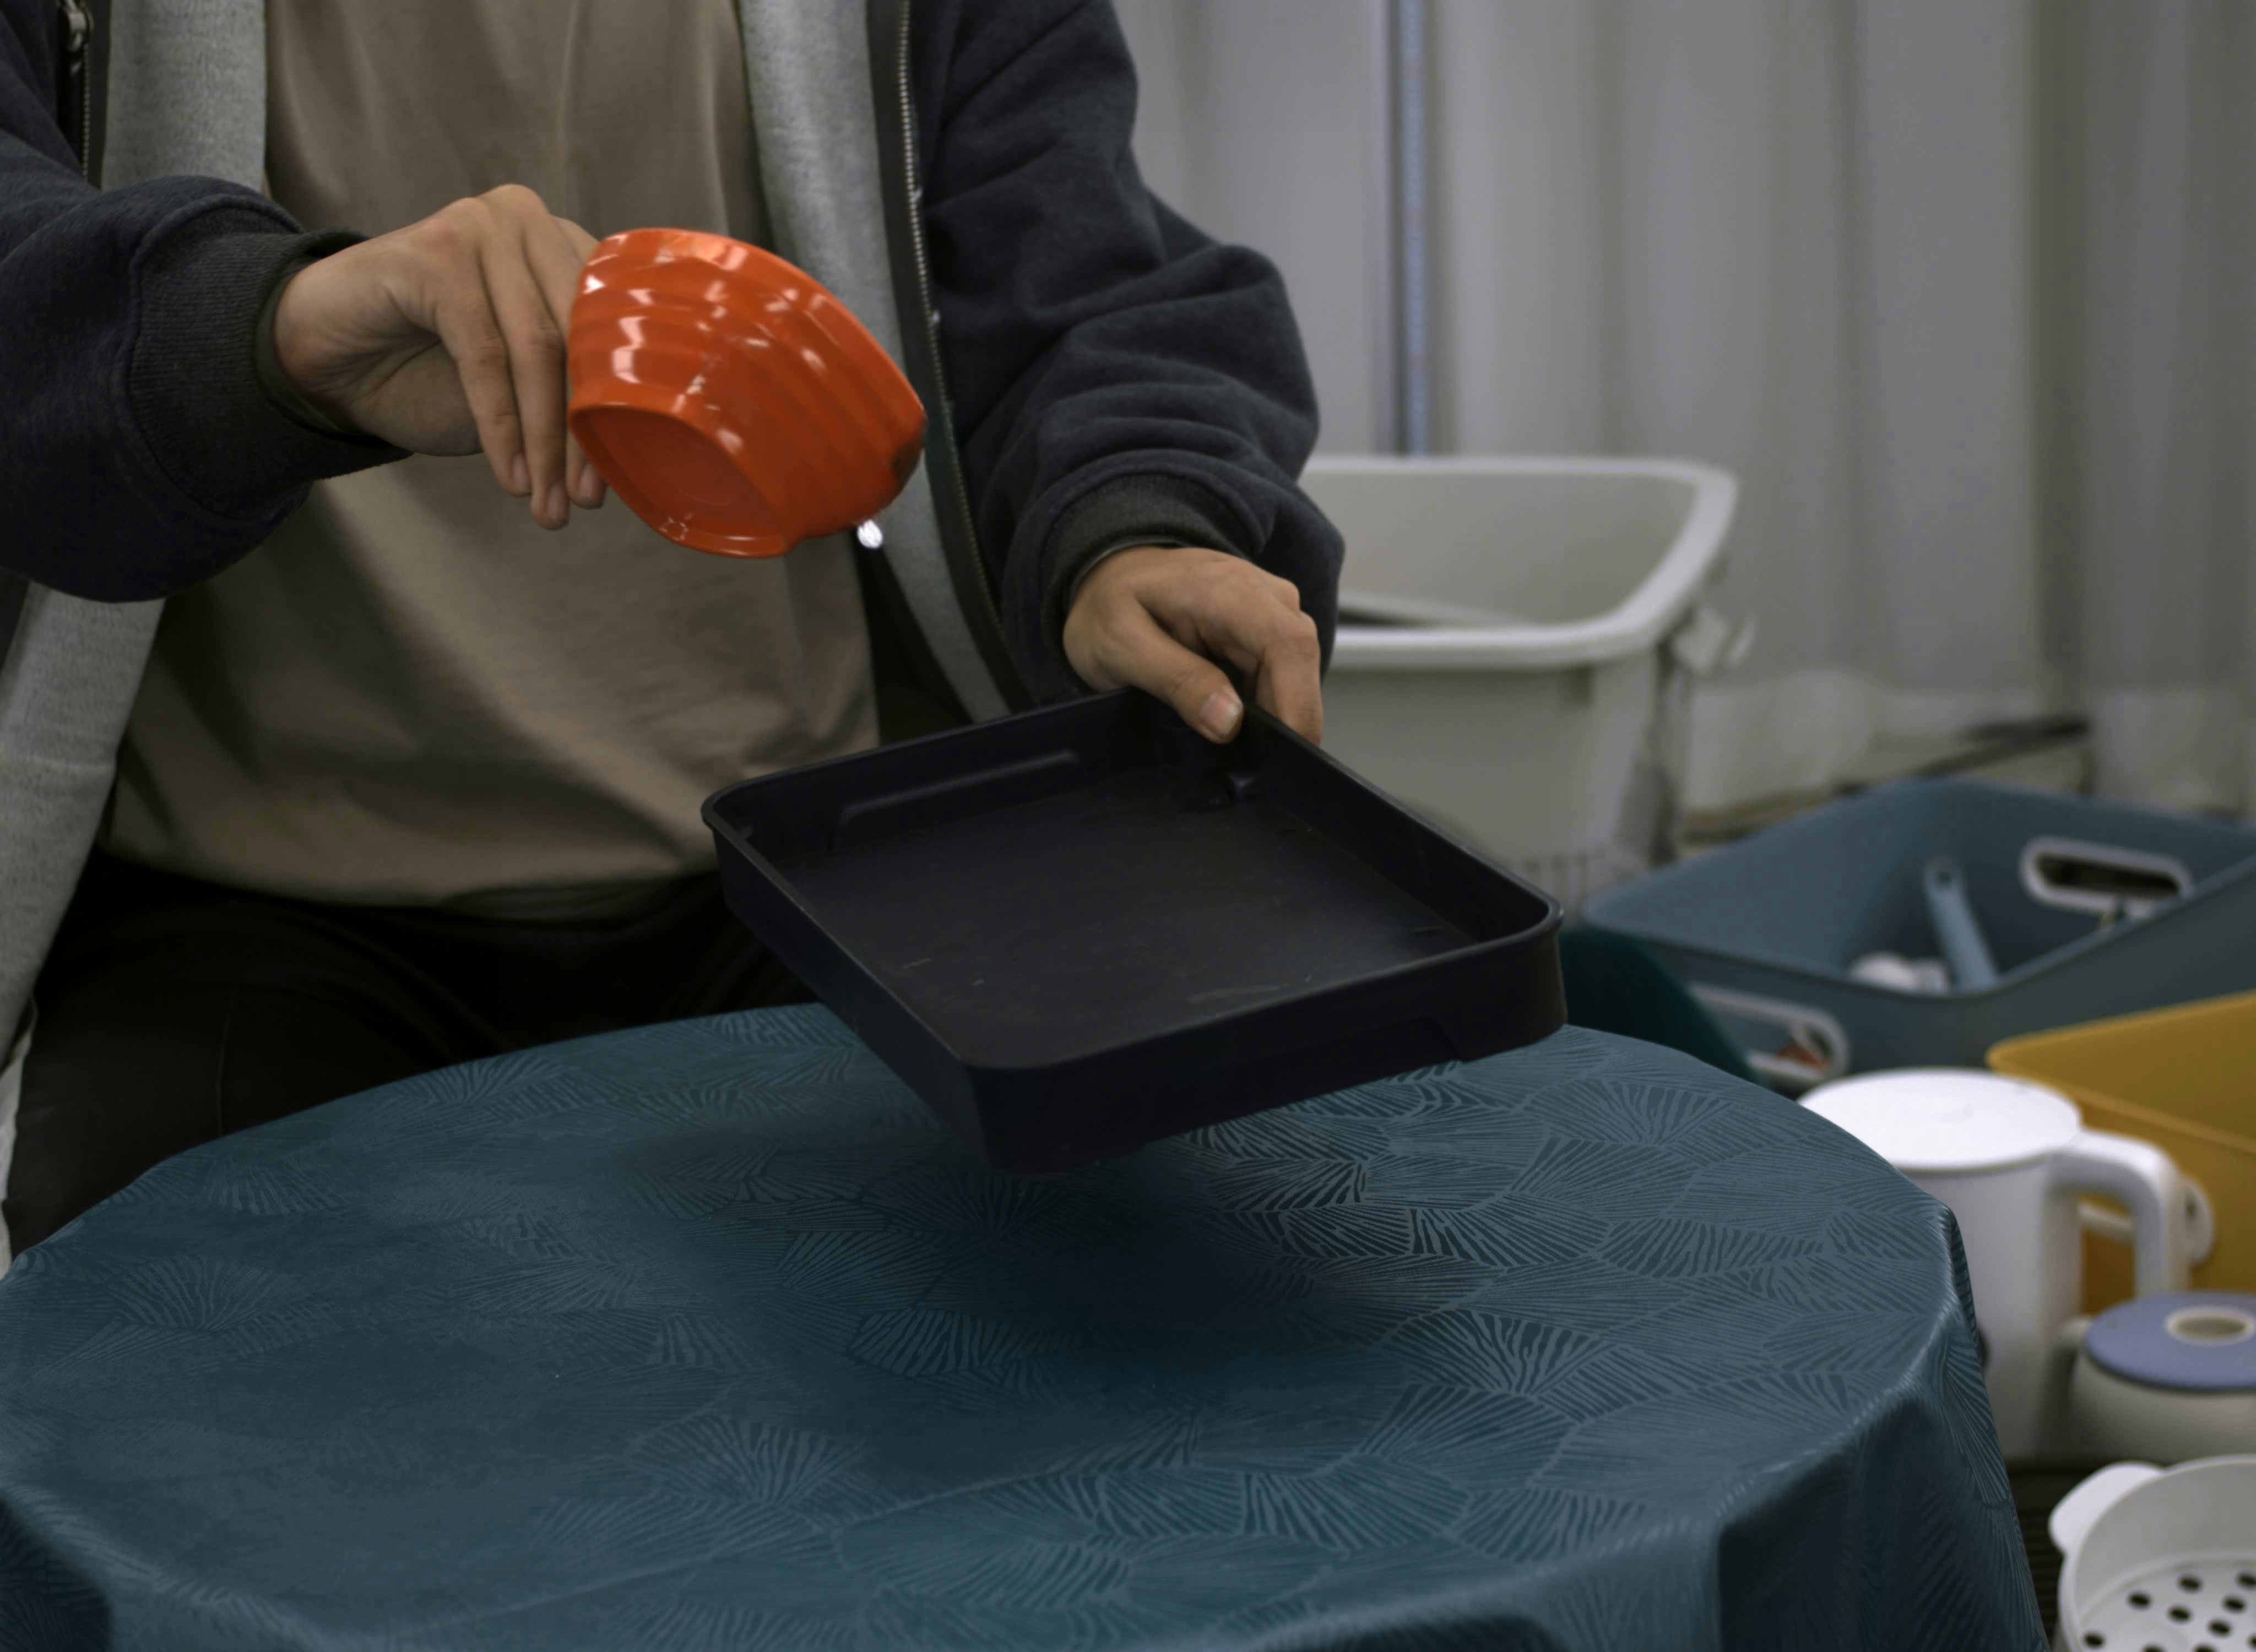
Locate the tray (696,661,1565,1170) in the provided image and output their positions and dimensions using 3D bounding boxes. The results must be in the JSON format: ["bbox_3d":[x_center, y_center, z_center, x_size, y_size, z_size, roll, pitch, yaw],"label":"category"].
[{"bbox_3d":[-0.006,0.021,1.672,0.183,0.037,0.321,-14,20,-16],"label":"tray"}]

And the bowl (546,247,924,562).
[{"bbox_3d":[-0.123,-0.116,1.592,0.119,0.051,0.118,27,-14,7],"label":"bowl"}]
